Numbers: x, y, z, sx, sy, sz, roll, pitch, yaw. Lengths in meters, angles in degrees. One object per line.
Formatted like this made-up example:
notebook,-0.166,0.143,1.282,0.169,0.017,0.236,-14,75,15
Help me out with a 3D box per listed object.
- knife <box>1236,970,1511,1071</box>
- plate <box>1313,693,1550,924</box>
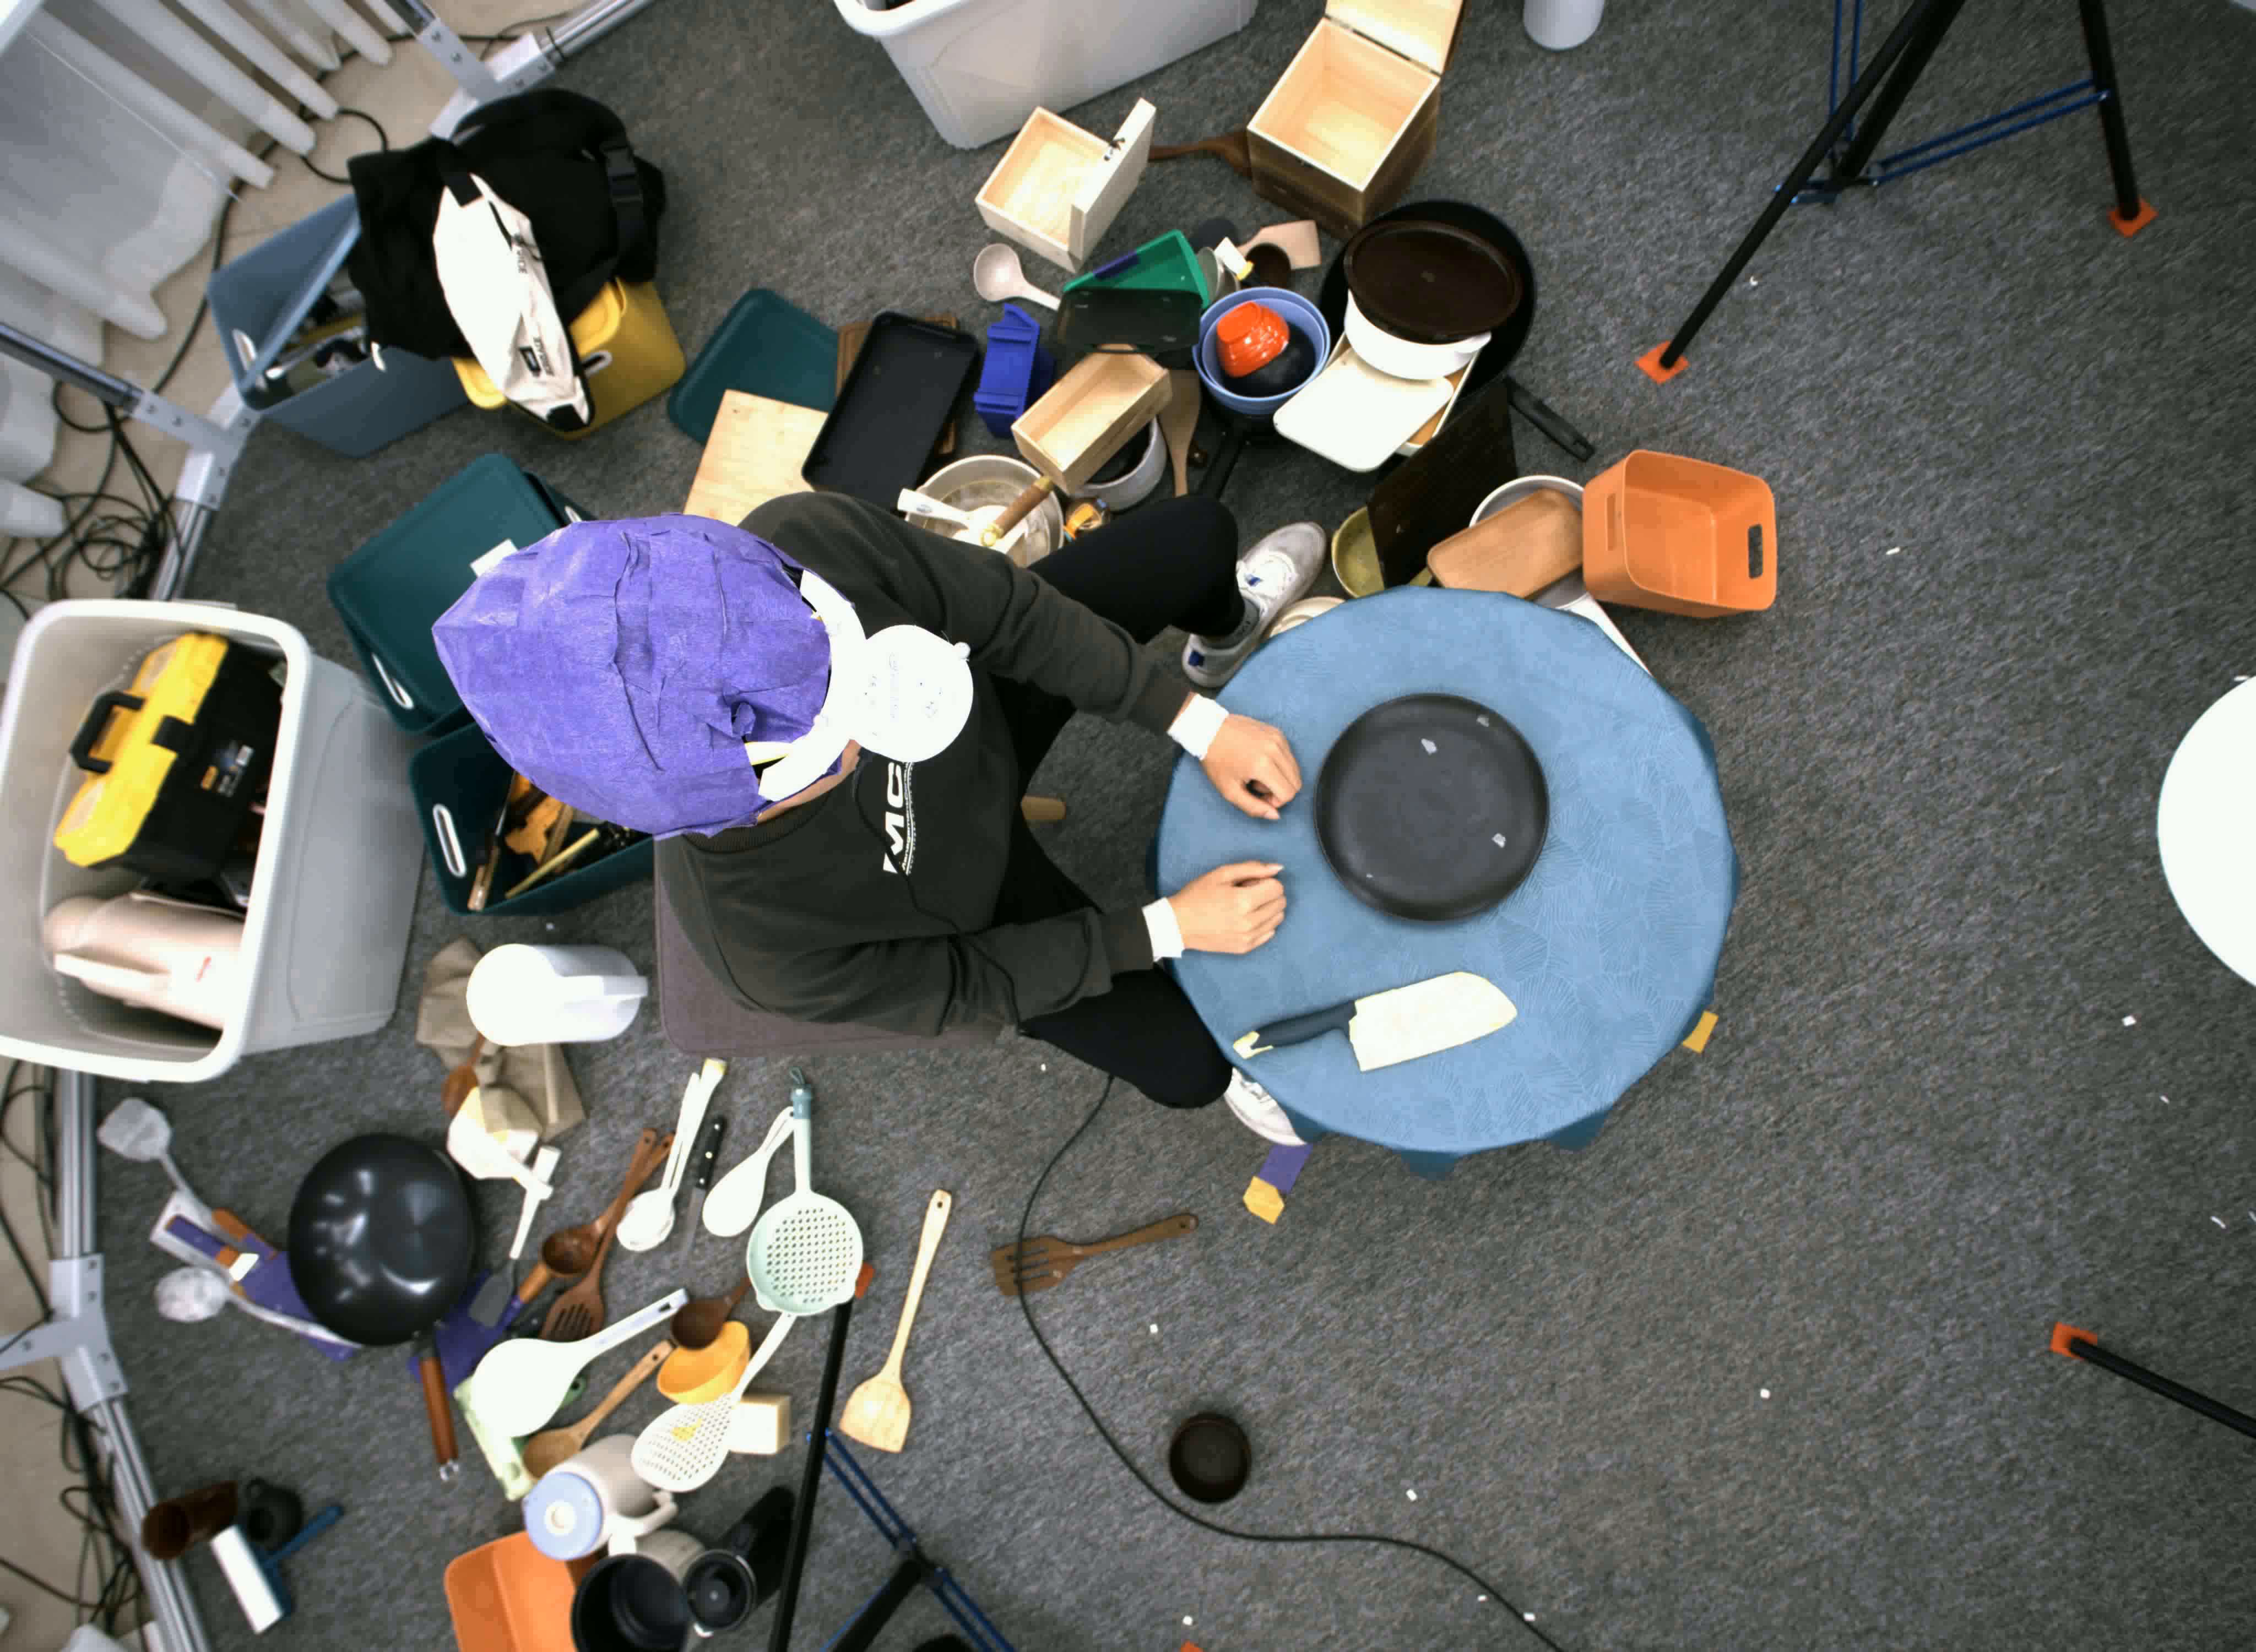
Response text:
knife,0.257,0.211,1.448,0.291,0.027,0.080,-14,82,9
plate,0.317,-0.020,1.444,0.245,0.023,0.243,-1,87,11
